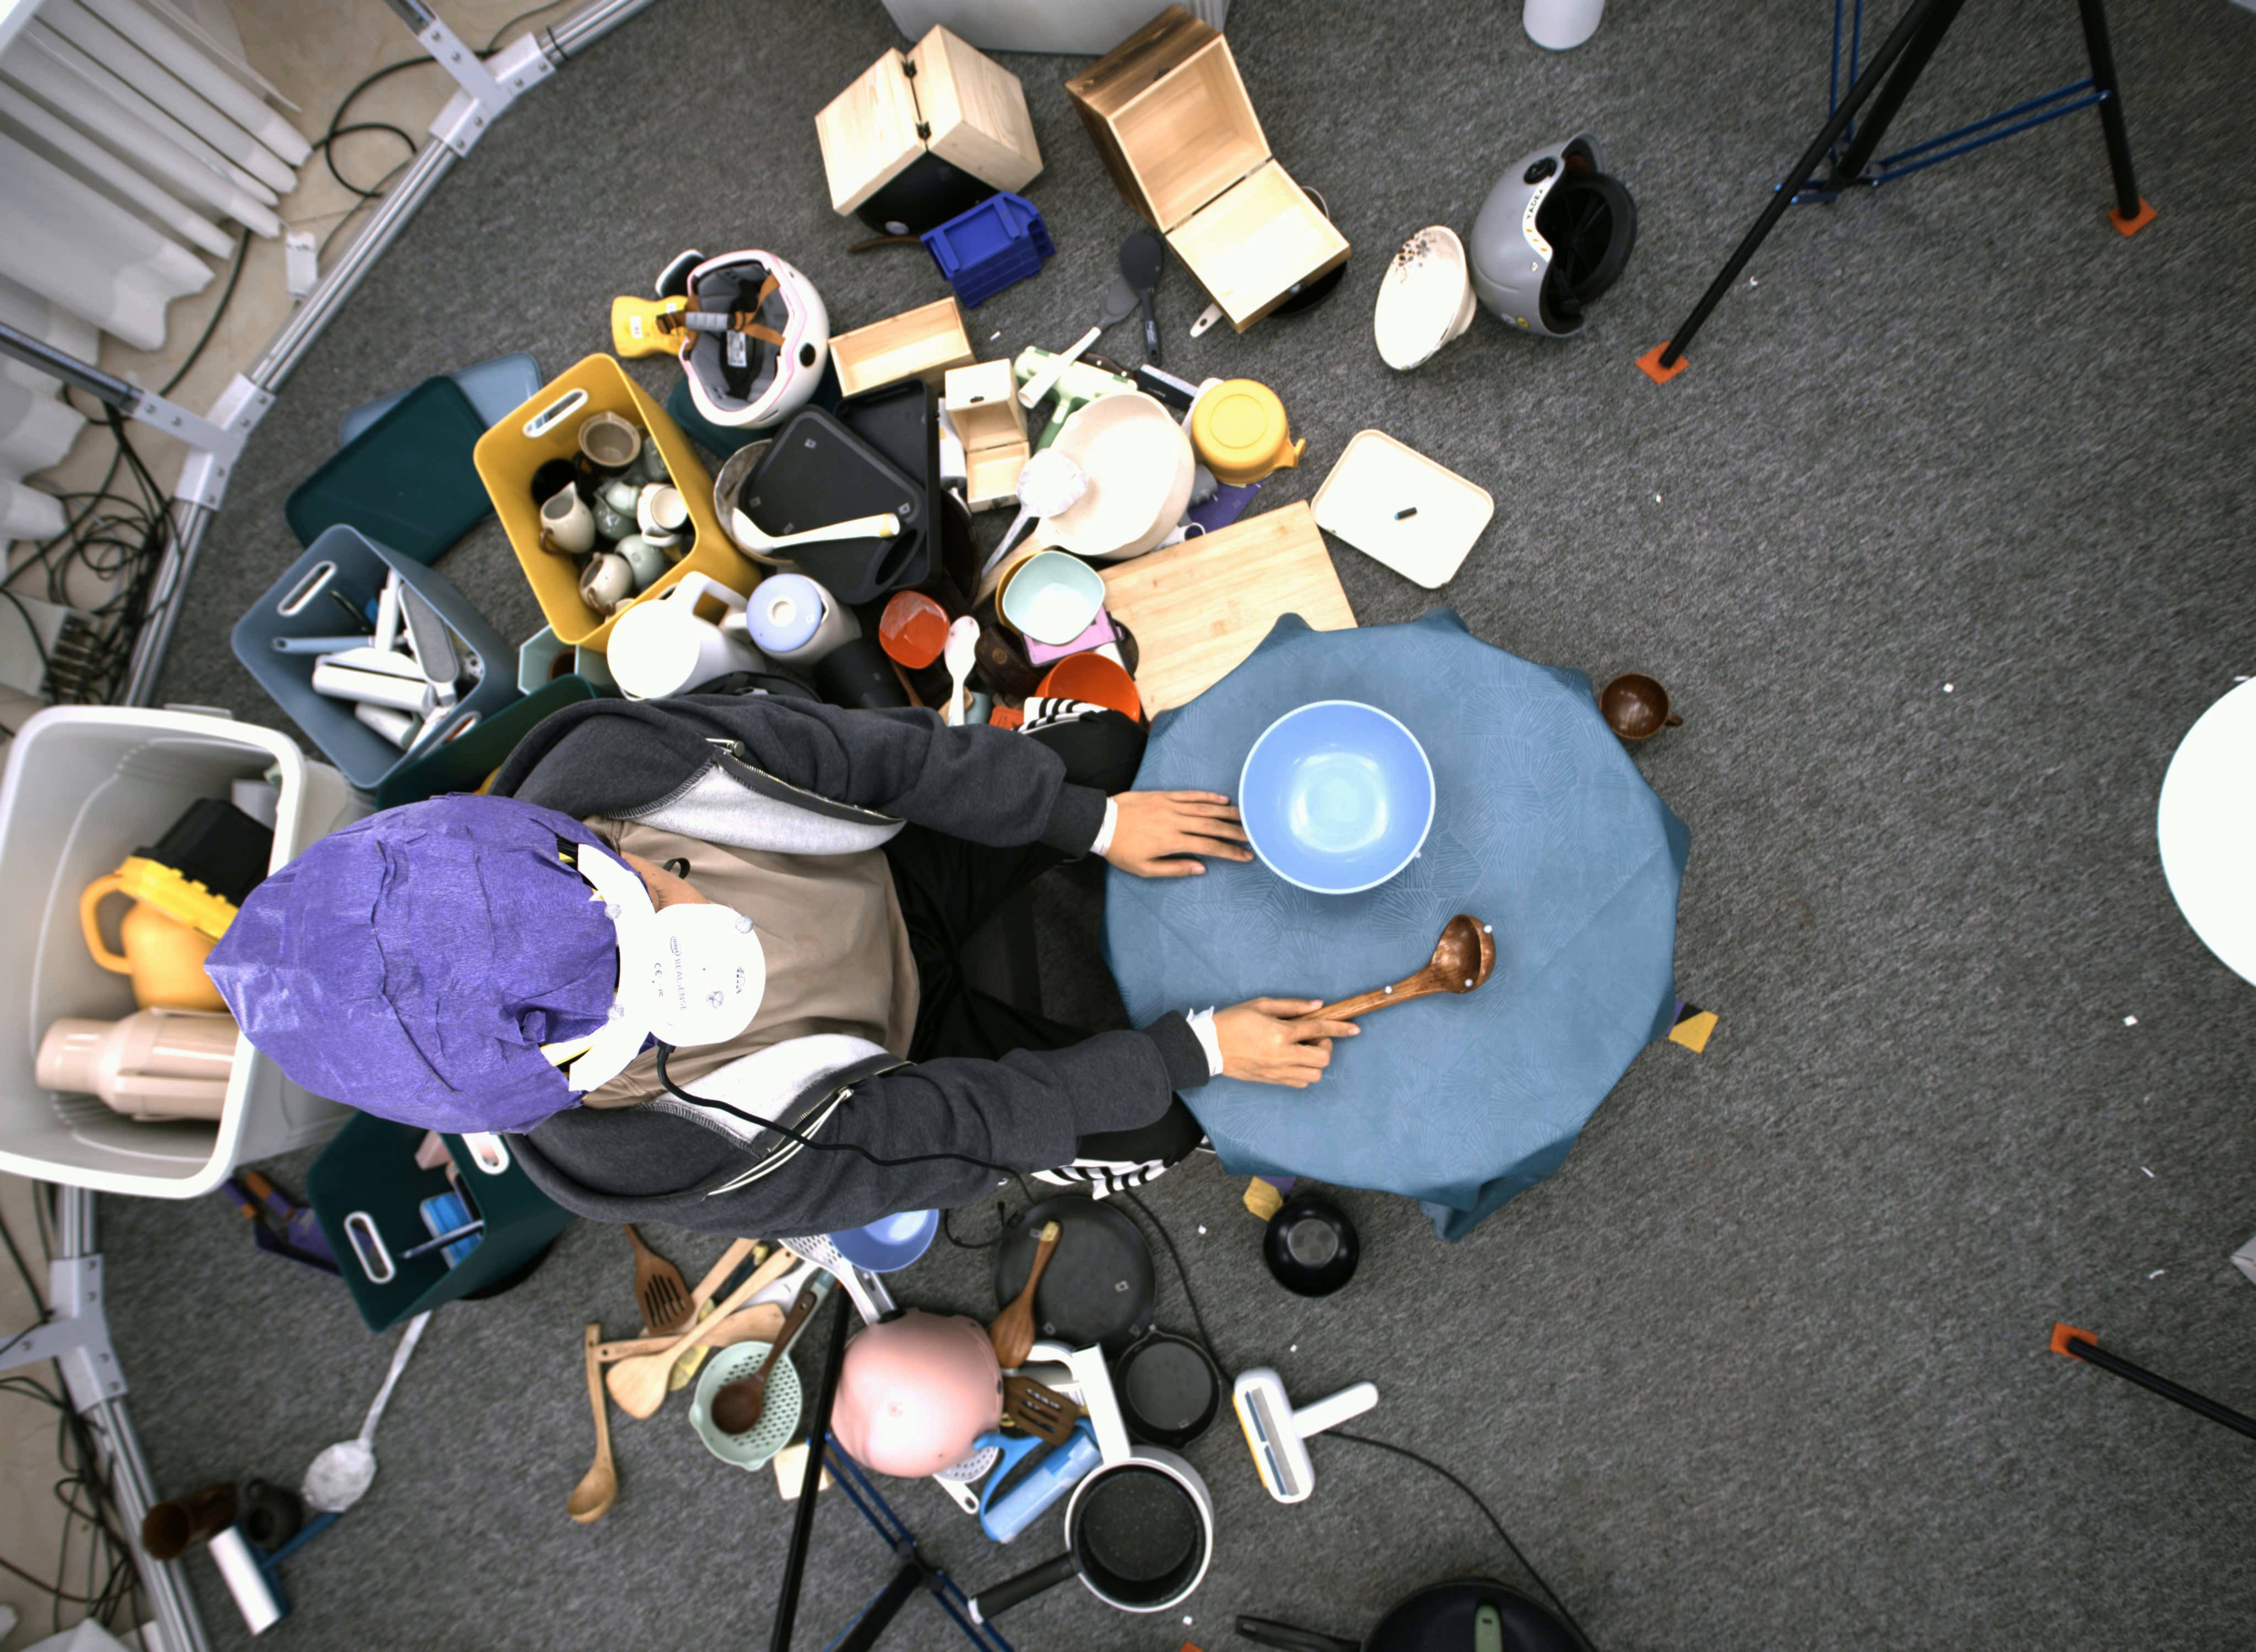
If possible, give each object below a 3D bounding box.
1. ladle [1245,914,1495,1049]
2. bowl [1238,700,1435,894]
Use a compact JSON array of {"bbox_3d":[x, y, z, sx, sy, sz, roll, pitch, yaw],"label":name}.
[{"bbox_3d":[0.244,0.165,1.422,0.276,0.078,0.080,-19,47,10],"label":"ladle"},{"bbox_3d":[0.216,-0.027,1.427,0.197,0.095,0.196,-1,87,11],"label":"bowl"}]
